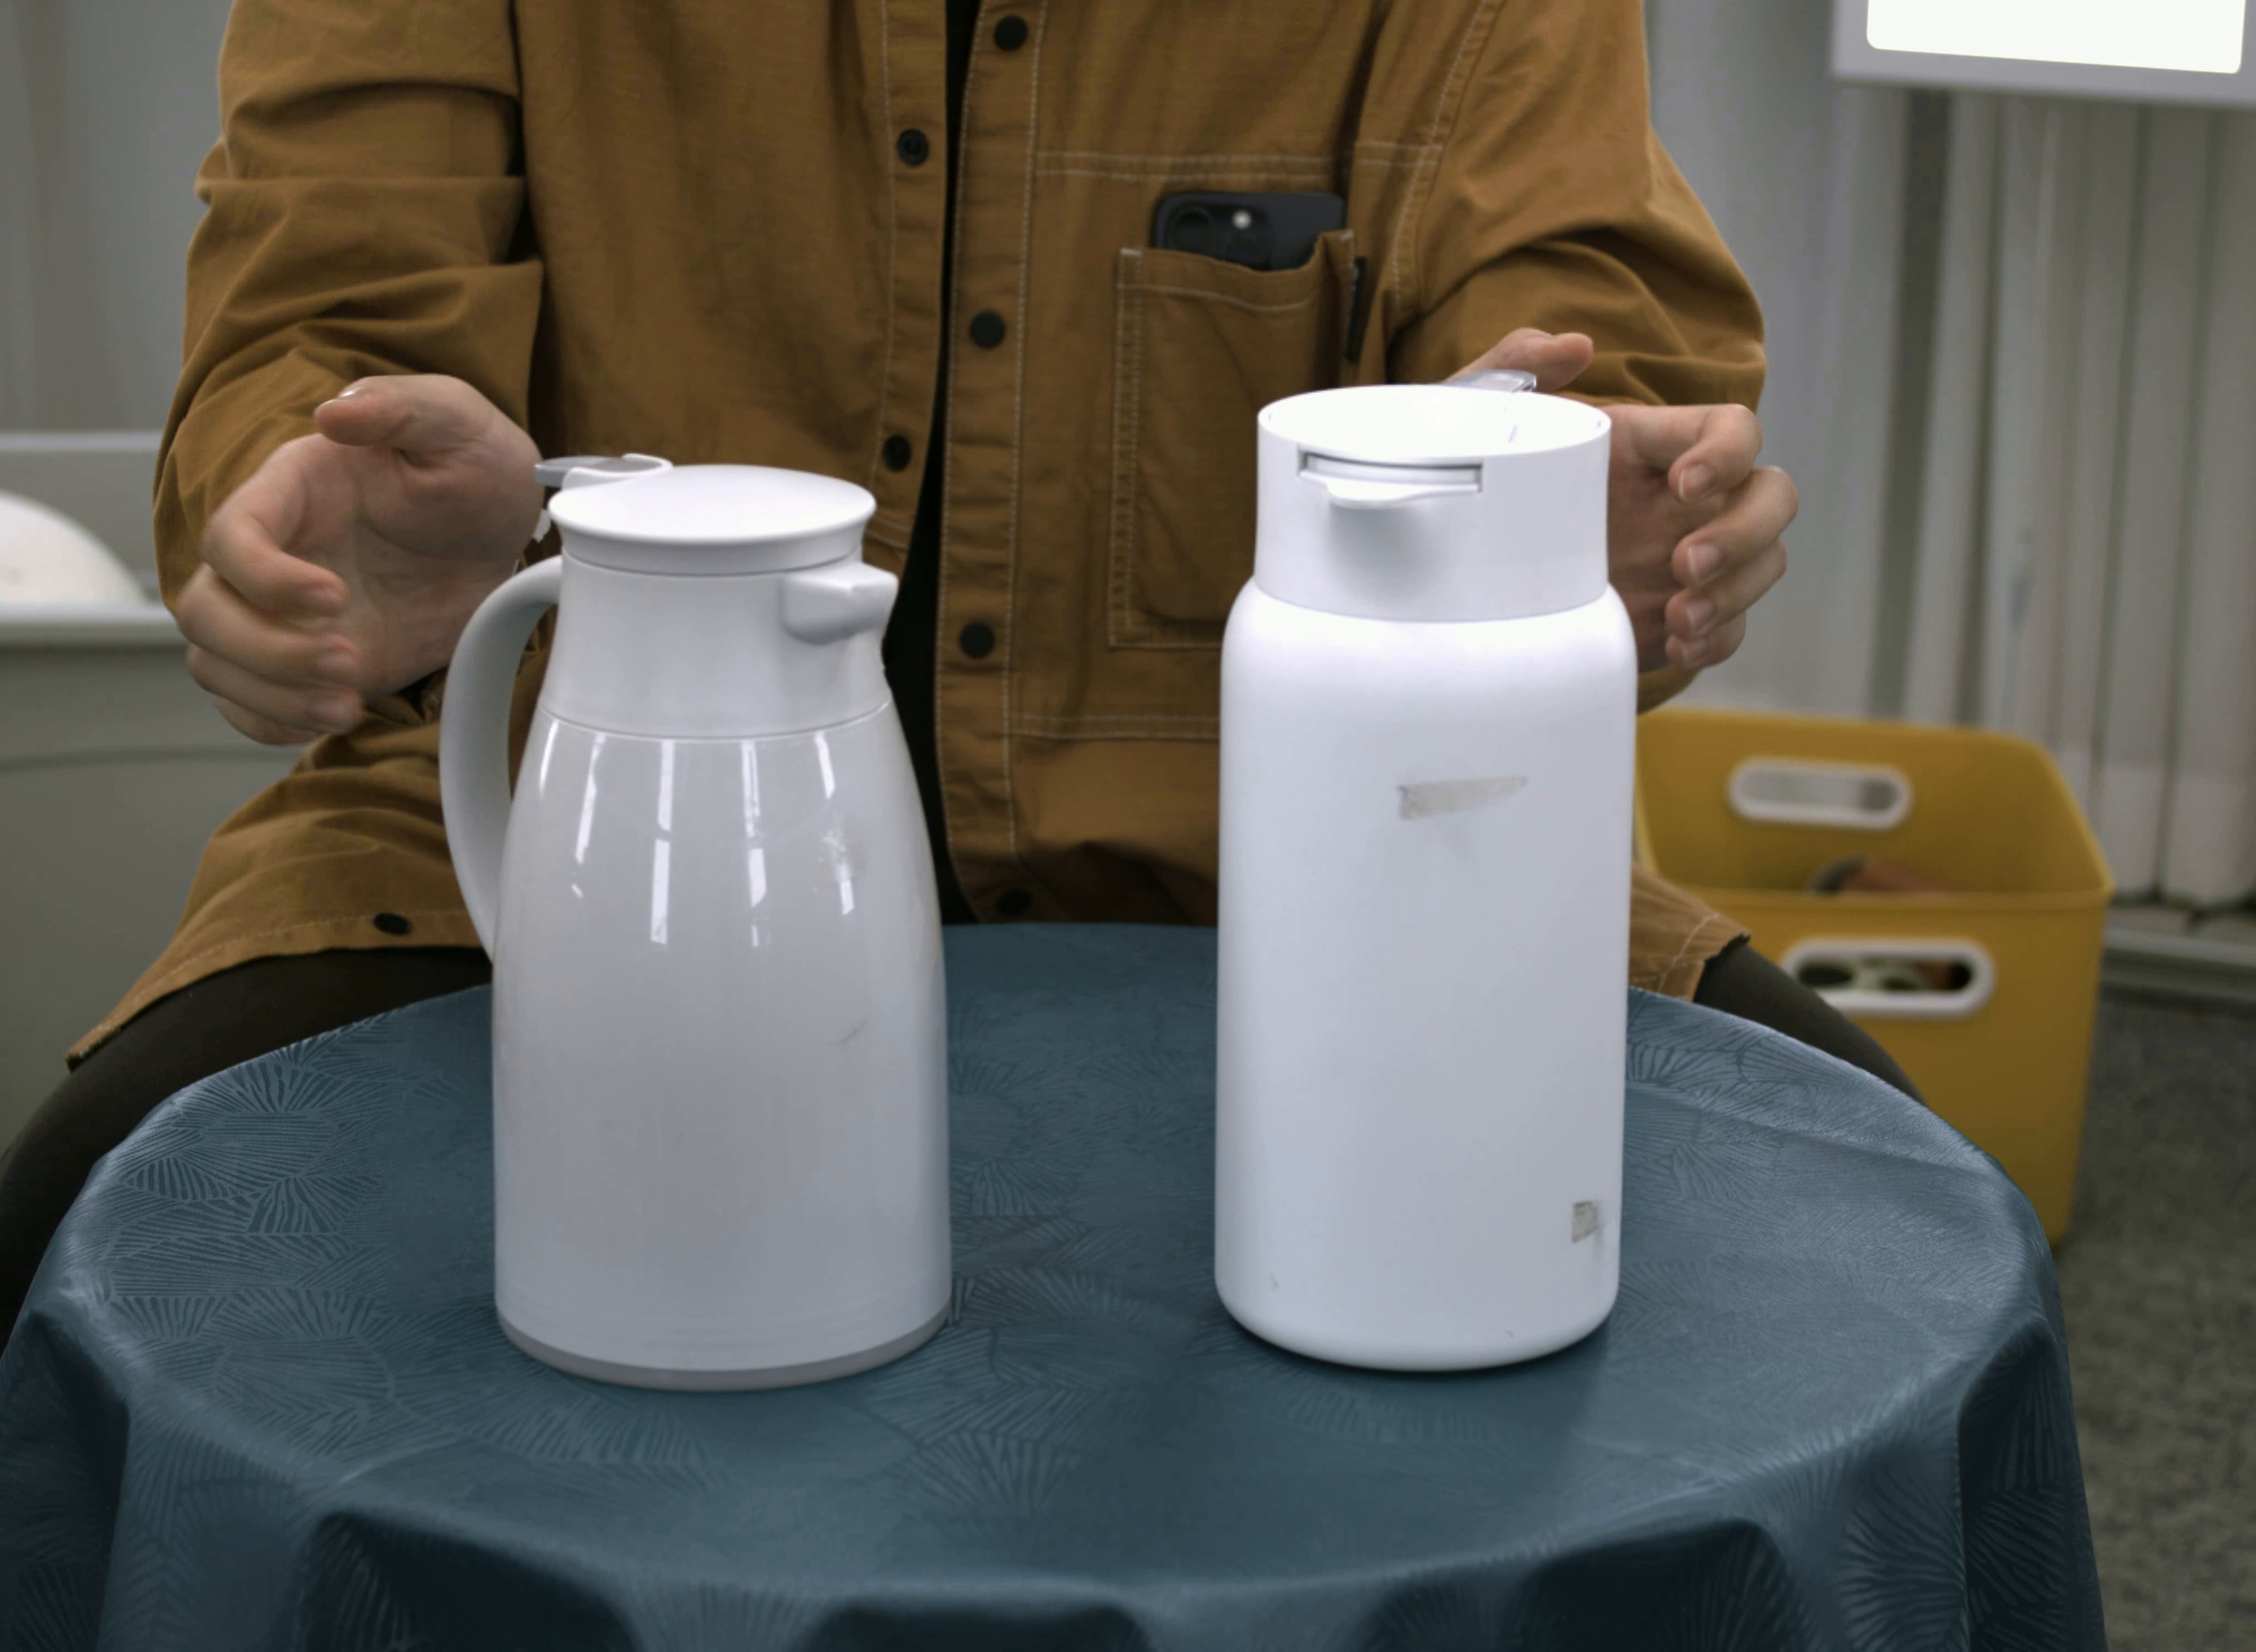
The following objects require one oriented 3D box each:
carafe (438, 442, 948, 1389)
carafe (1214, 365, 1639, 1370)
[{"bbox_3d":[-0.132,0.017,1.495,0.165,0.250,0.133,12,19,37],"label":"carafe"},{"bbox_3d":[0.088,0.007,1.502,0.123,0.271,0.173,4,16,19],"label":"carafe"}]
